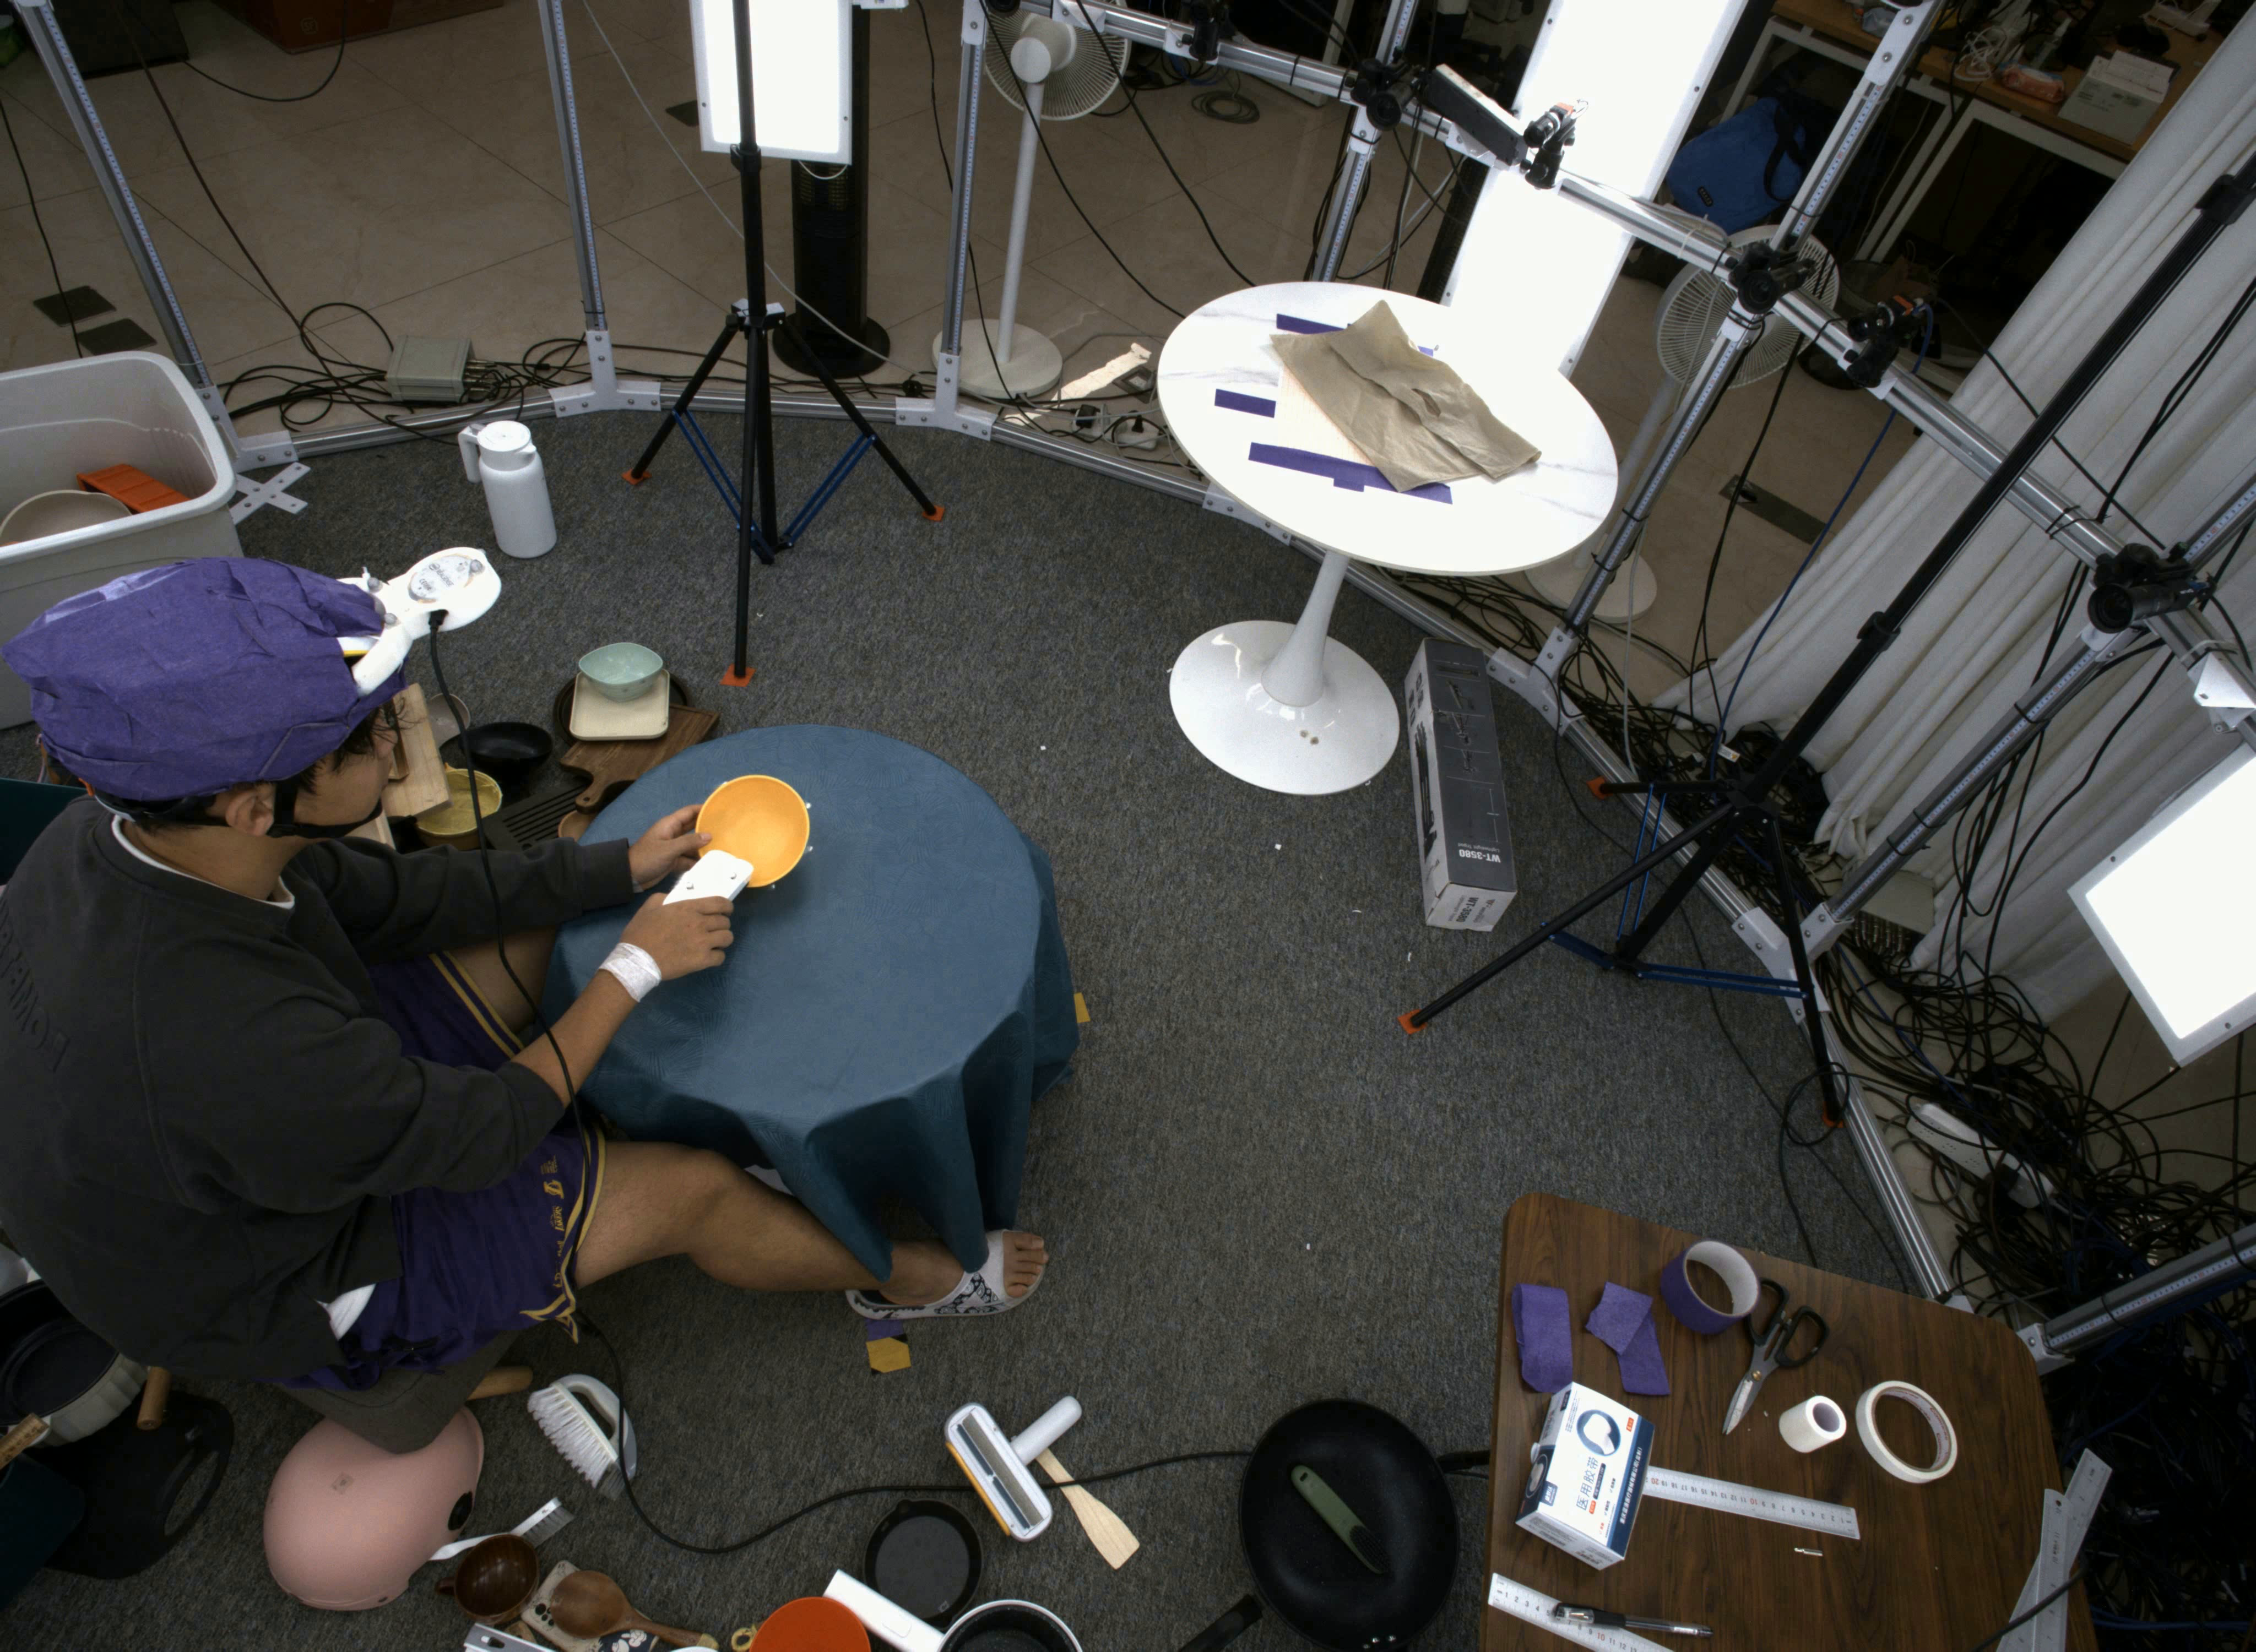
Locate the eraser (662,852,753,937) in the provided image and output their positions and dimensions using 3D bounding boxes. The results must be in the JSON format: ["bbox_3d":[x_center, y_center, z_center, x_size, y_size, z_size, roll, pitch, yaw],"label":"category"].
[{"bbox_3d":[-0.507,0.077,1.552,0.063,0.035,0.130,23,36,3],"label":"eraser"}]

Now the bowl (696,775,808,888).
[{"bbox_3d":[-0.471,0.012,1.647,0.144,0.061,0.145,0,78,0],"label":"bowl"}]
